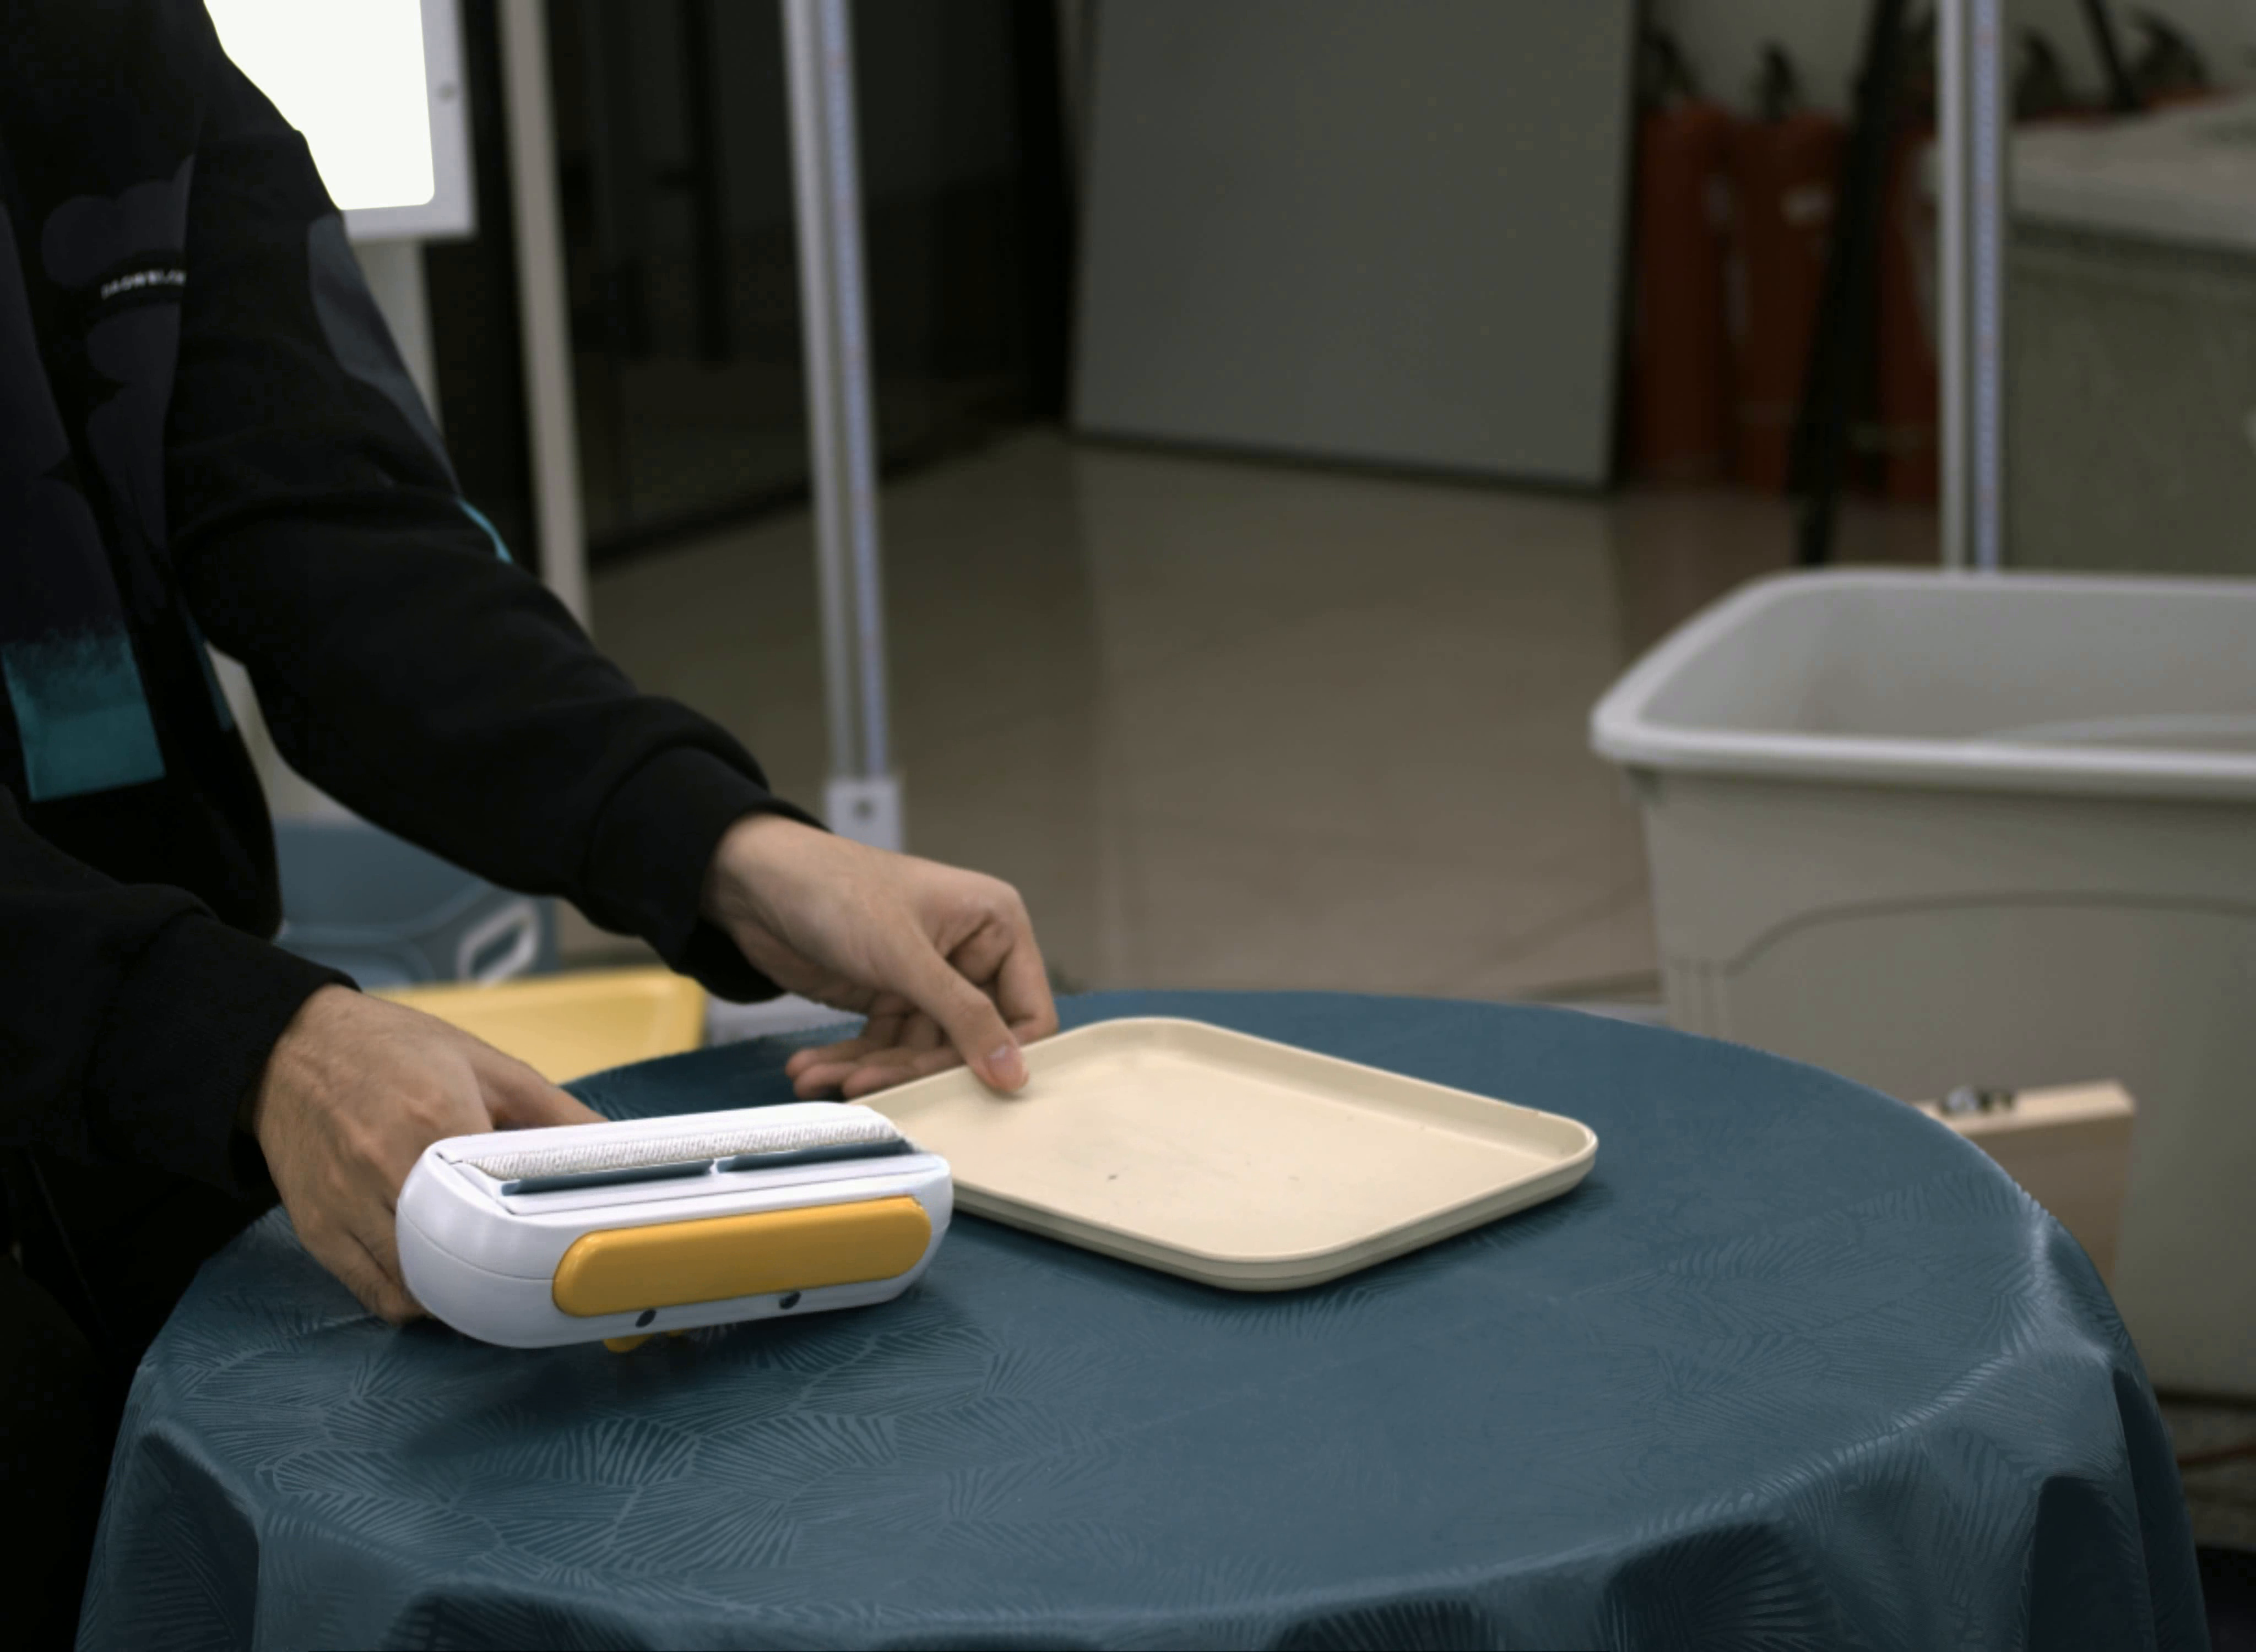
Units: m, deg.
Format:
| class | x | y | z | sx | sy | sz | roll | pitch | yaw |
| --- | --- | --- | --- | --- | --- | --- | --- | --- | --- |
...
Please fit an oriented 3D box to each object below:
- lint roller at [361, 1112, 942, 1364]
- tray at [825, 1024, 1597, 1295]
| class | x | y | z | sx | sy | sz | roll | pitch | yaw |
| --- | --- | --- | --- | --- | --- | --- | --- | --- | --- |
| lint roller | -0.178 | 0.114 | 1.685 | 0.188 | 0.075 | 0.194 | -7 | 18 | -38 |
| tray | 0.025 | 0.109 | 1.778 | 0.167 | 0.017 | 0.242 | -16 | 18 | -39 |
